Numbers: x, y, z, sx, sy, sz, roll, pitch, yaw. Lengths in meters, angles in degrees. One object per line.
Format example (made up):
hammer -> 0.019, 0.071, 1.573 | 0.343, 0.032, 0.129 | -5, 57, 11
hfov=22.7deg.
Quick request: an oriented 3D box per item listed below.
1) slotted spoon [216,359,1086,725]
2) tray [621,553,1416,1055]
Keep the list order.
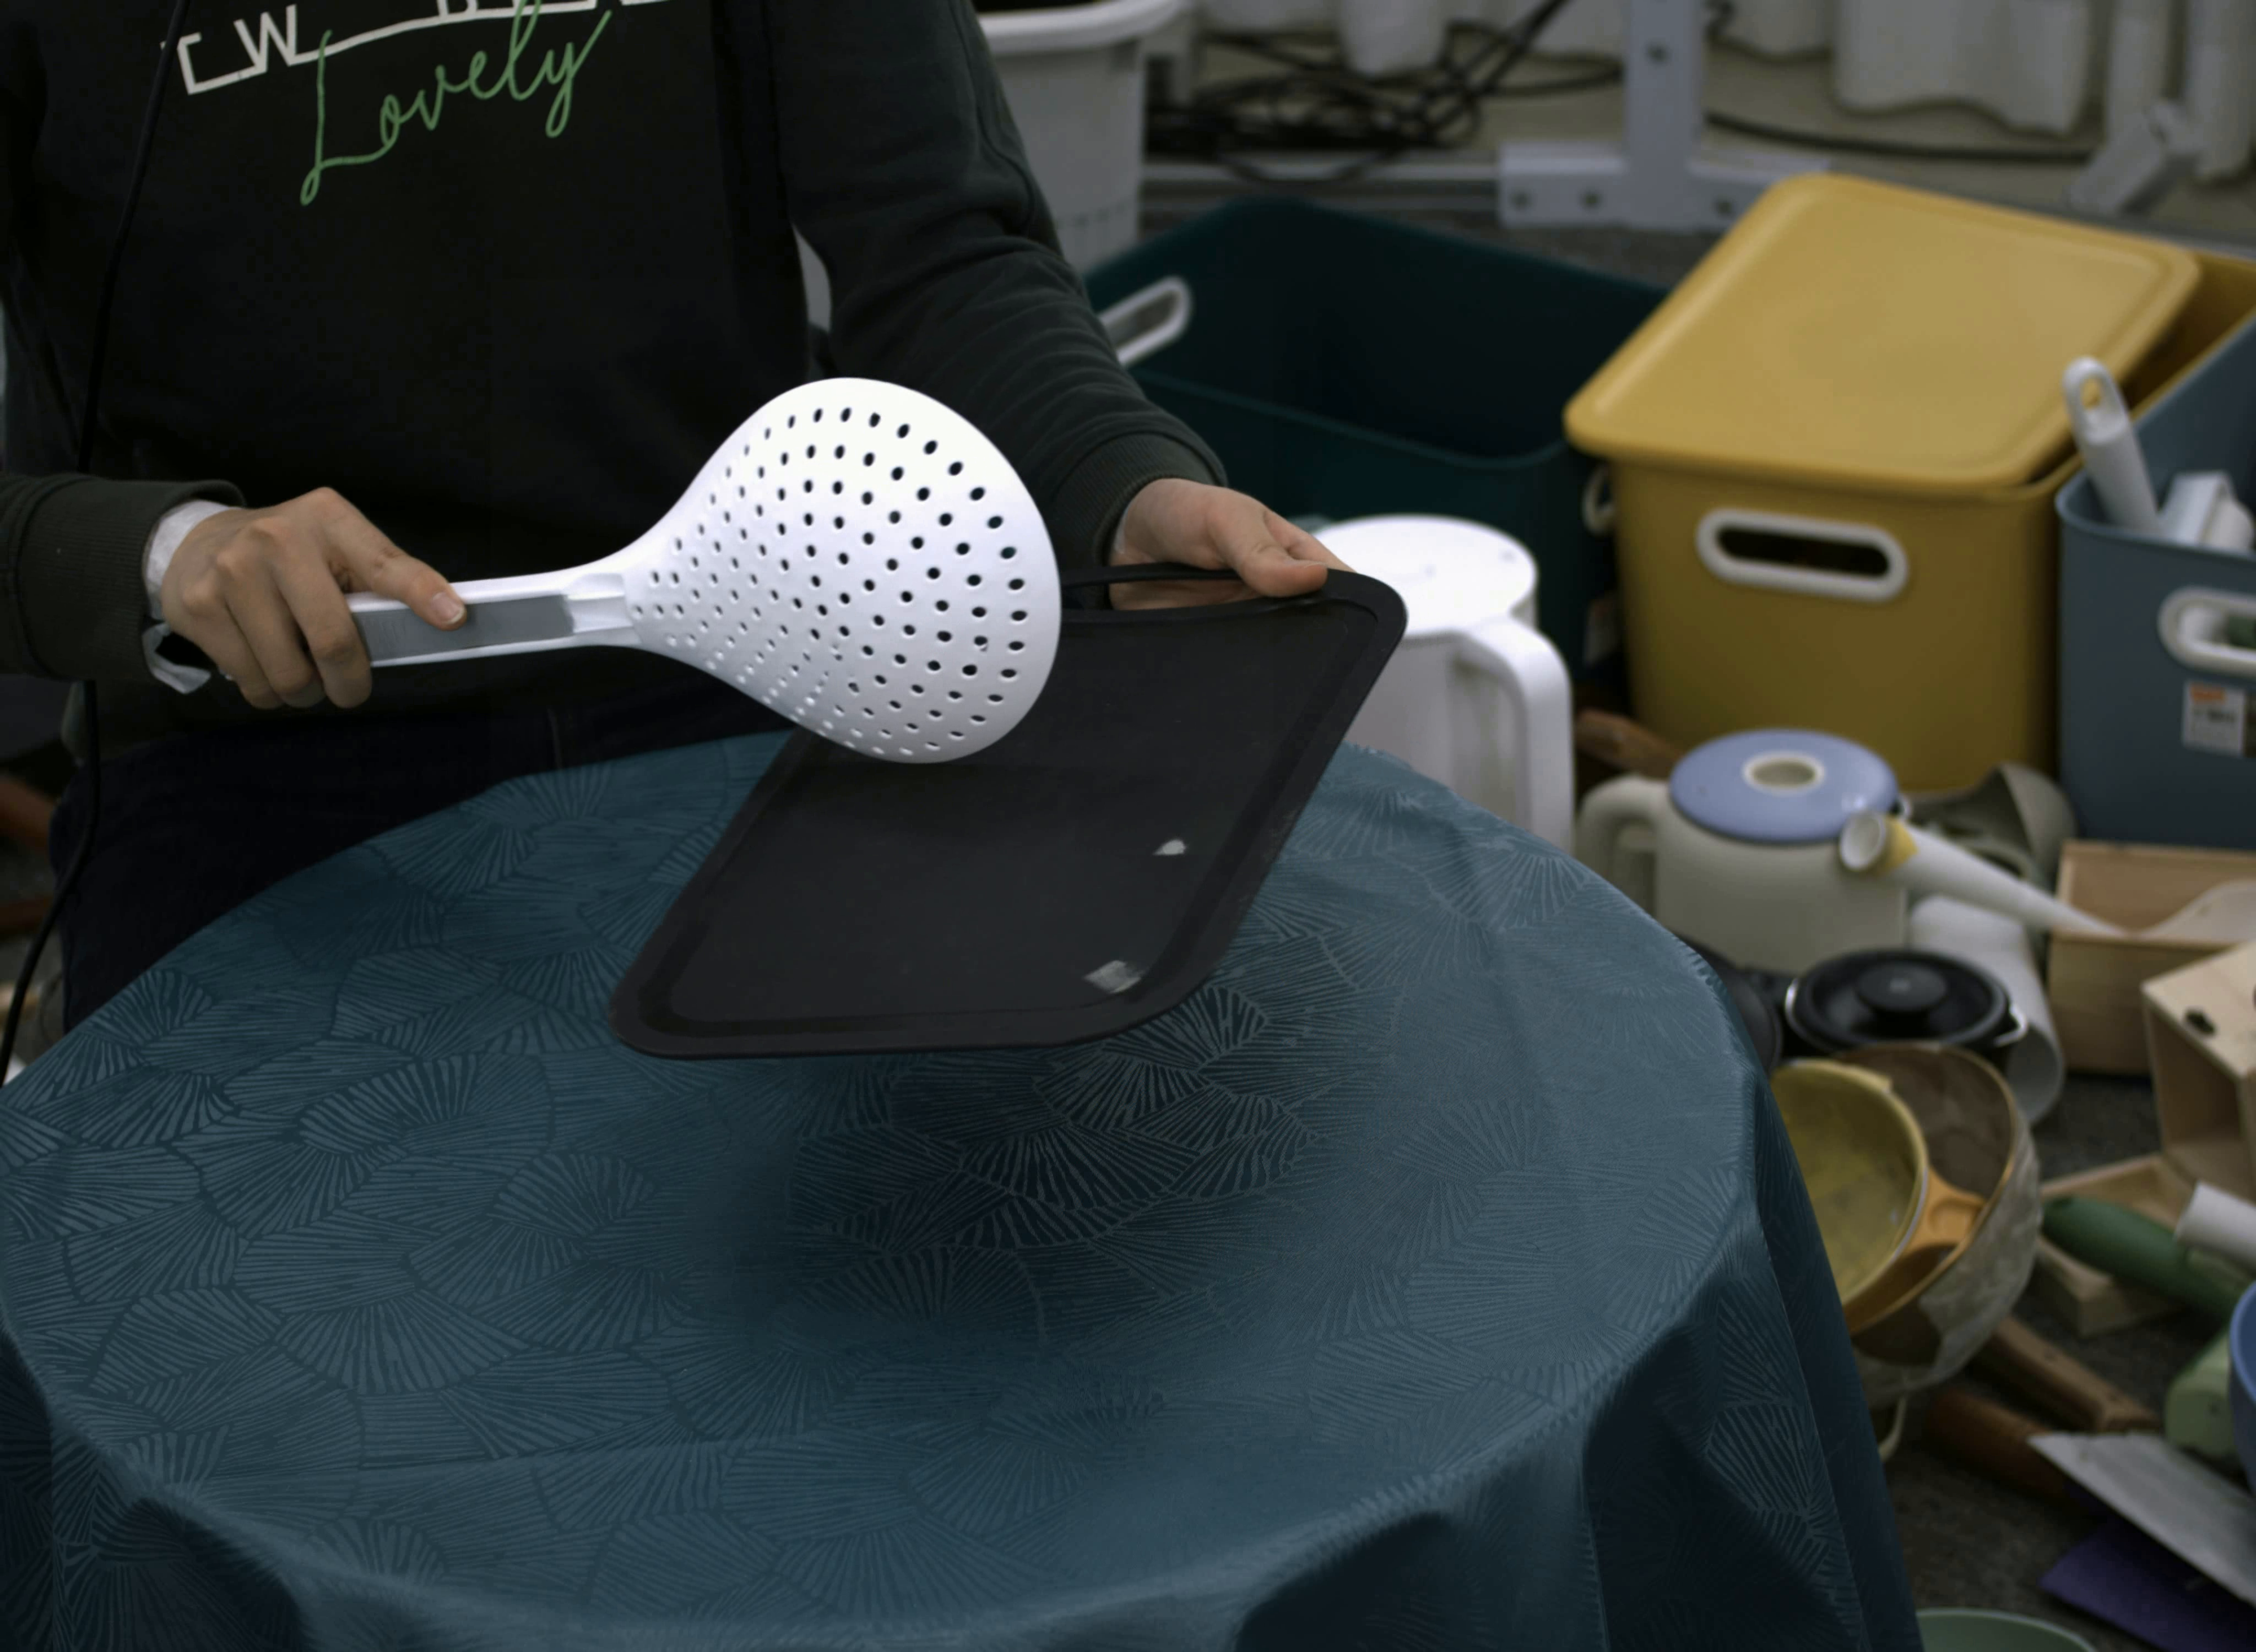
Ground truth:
slotted spoon -> -0.172, -0.076, 1.932 | 0.346, 0.135, 0.046 | -7, 24, 32
tray -> -0.030, -0.014, 1.869 | 0.209, 0.010, 0.331 | -3, 29, 22
